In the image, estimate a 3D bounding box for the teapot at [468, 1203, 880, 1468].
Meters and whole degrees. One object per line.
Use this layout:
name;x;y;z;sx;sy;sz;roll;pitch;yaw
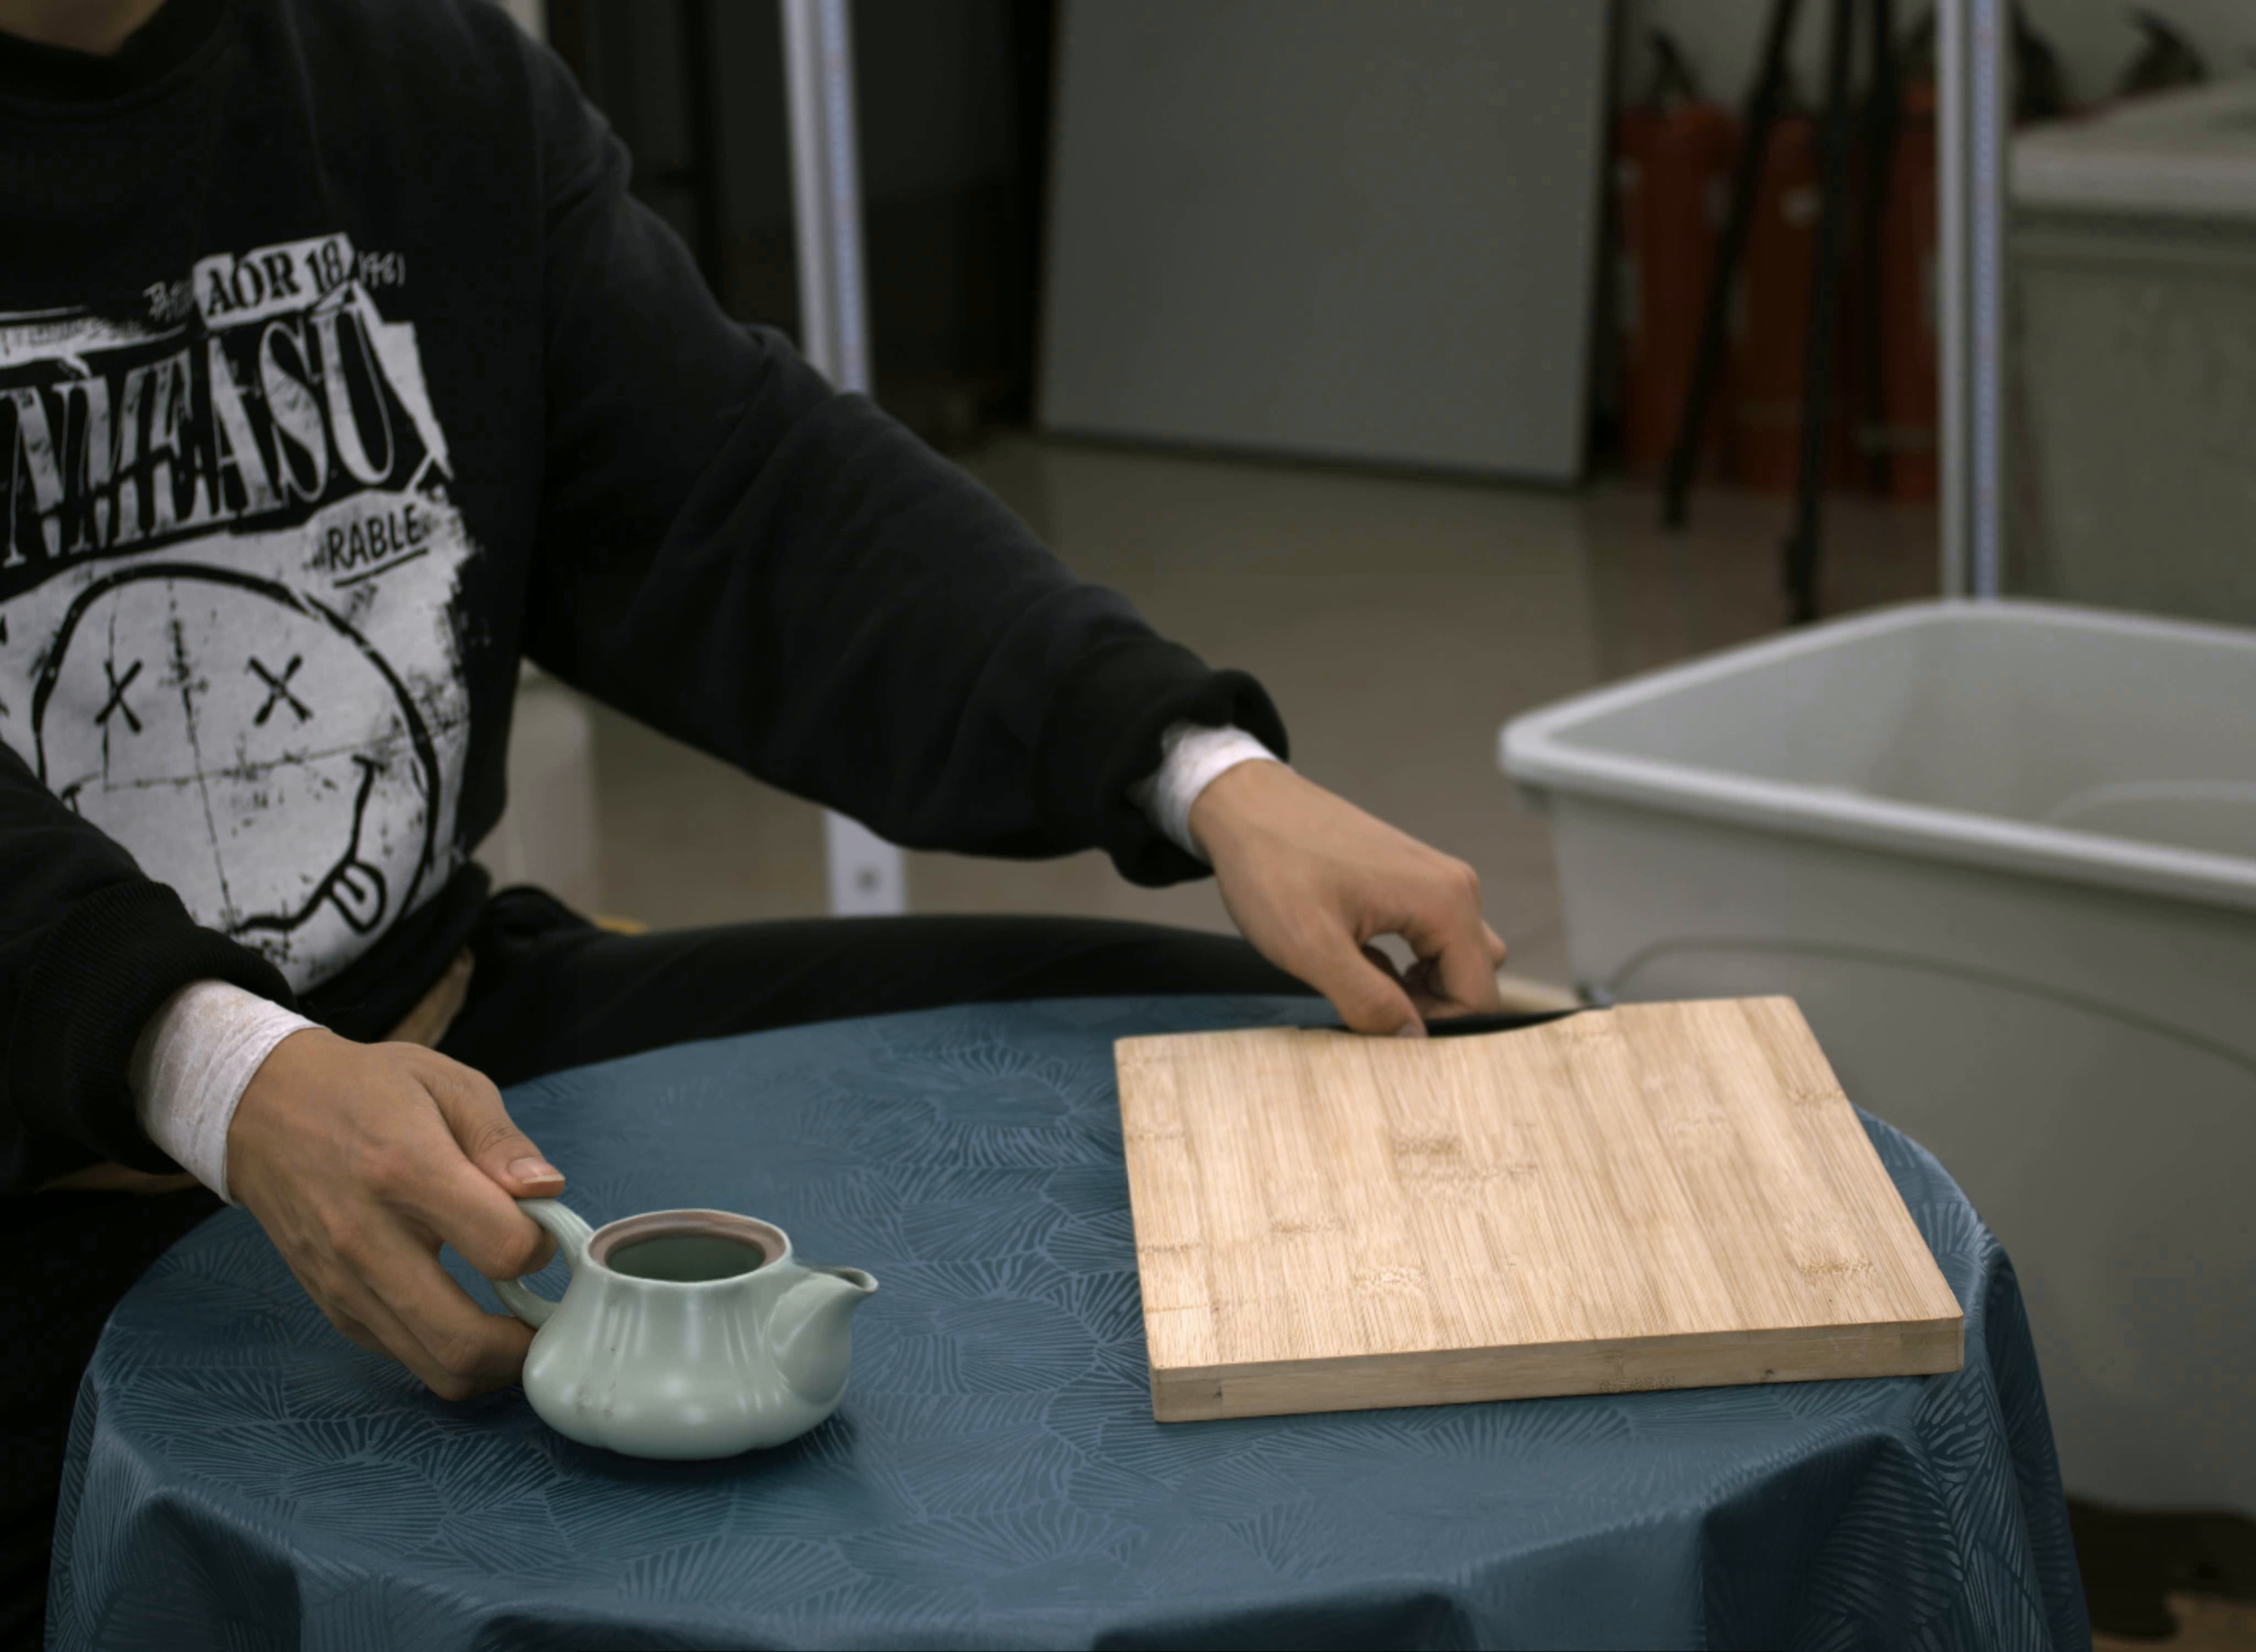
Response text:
teapot;-0.133;0.147;1.574;0.137;0.062;0.095;9;19;26

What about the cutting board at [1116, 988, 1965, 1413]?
cutting board;0.120;0.116;1.726;0.247;0.024;0.349;-4;14;-1
